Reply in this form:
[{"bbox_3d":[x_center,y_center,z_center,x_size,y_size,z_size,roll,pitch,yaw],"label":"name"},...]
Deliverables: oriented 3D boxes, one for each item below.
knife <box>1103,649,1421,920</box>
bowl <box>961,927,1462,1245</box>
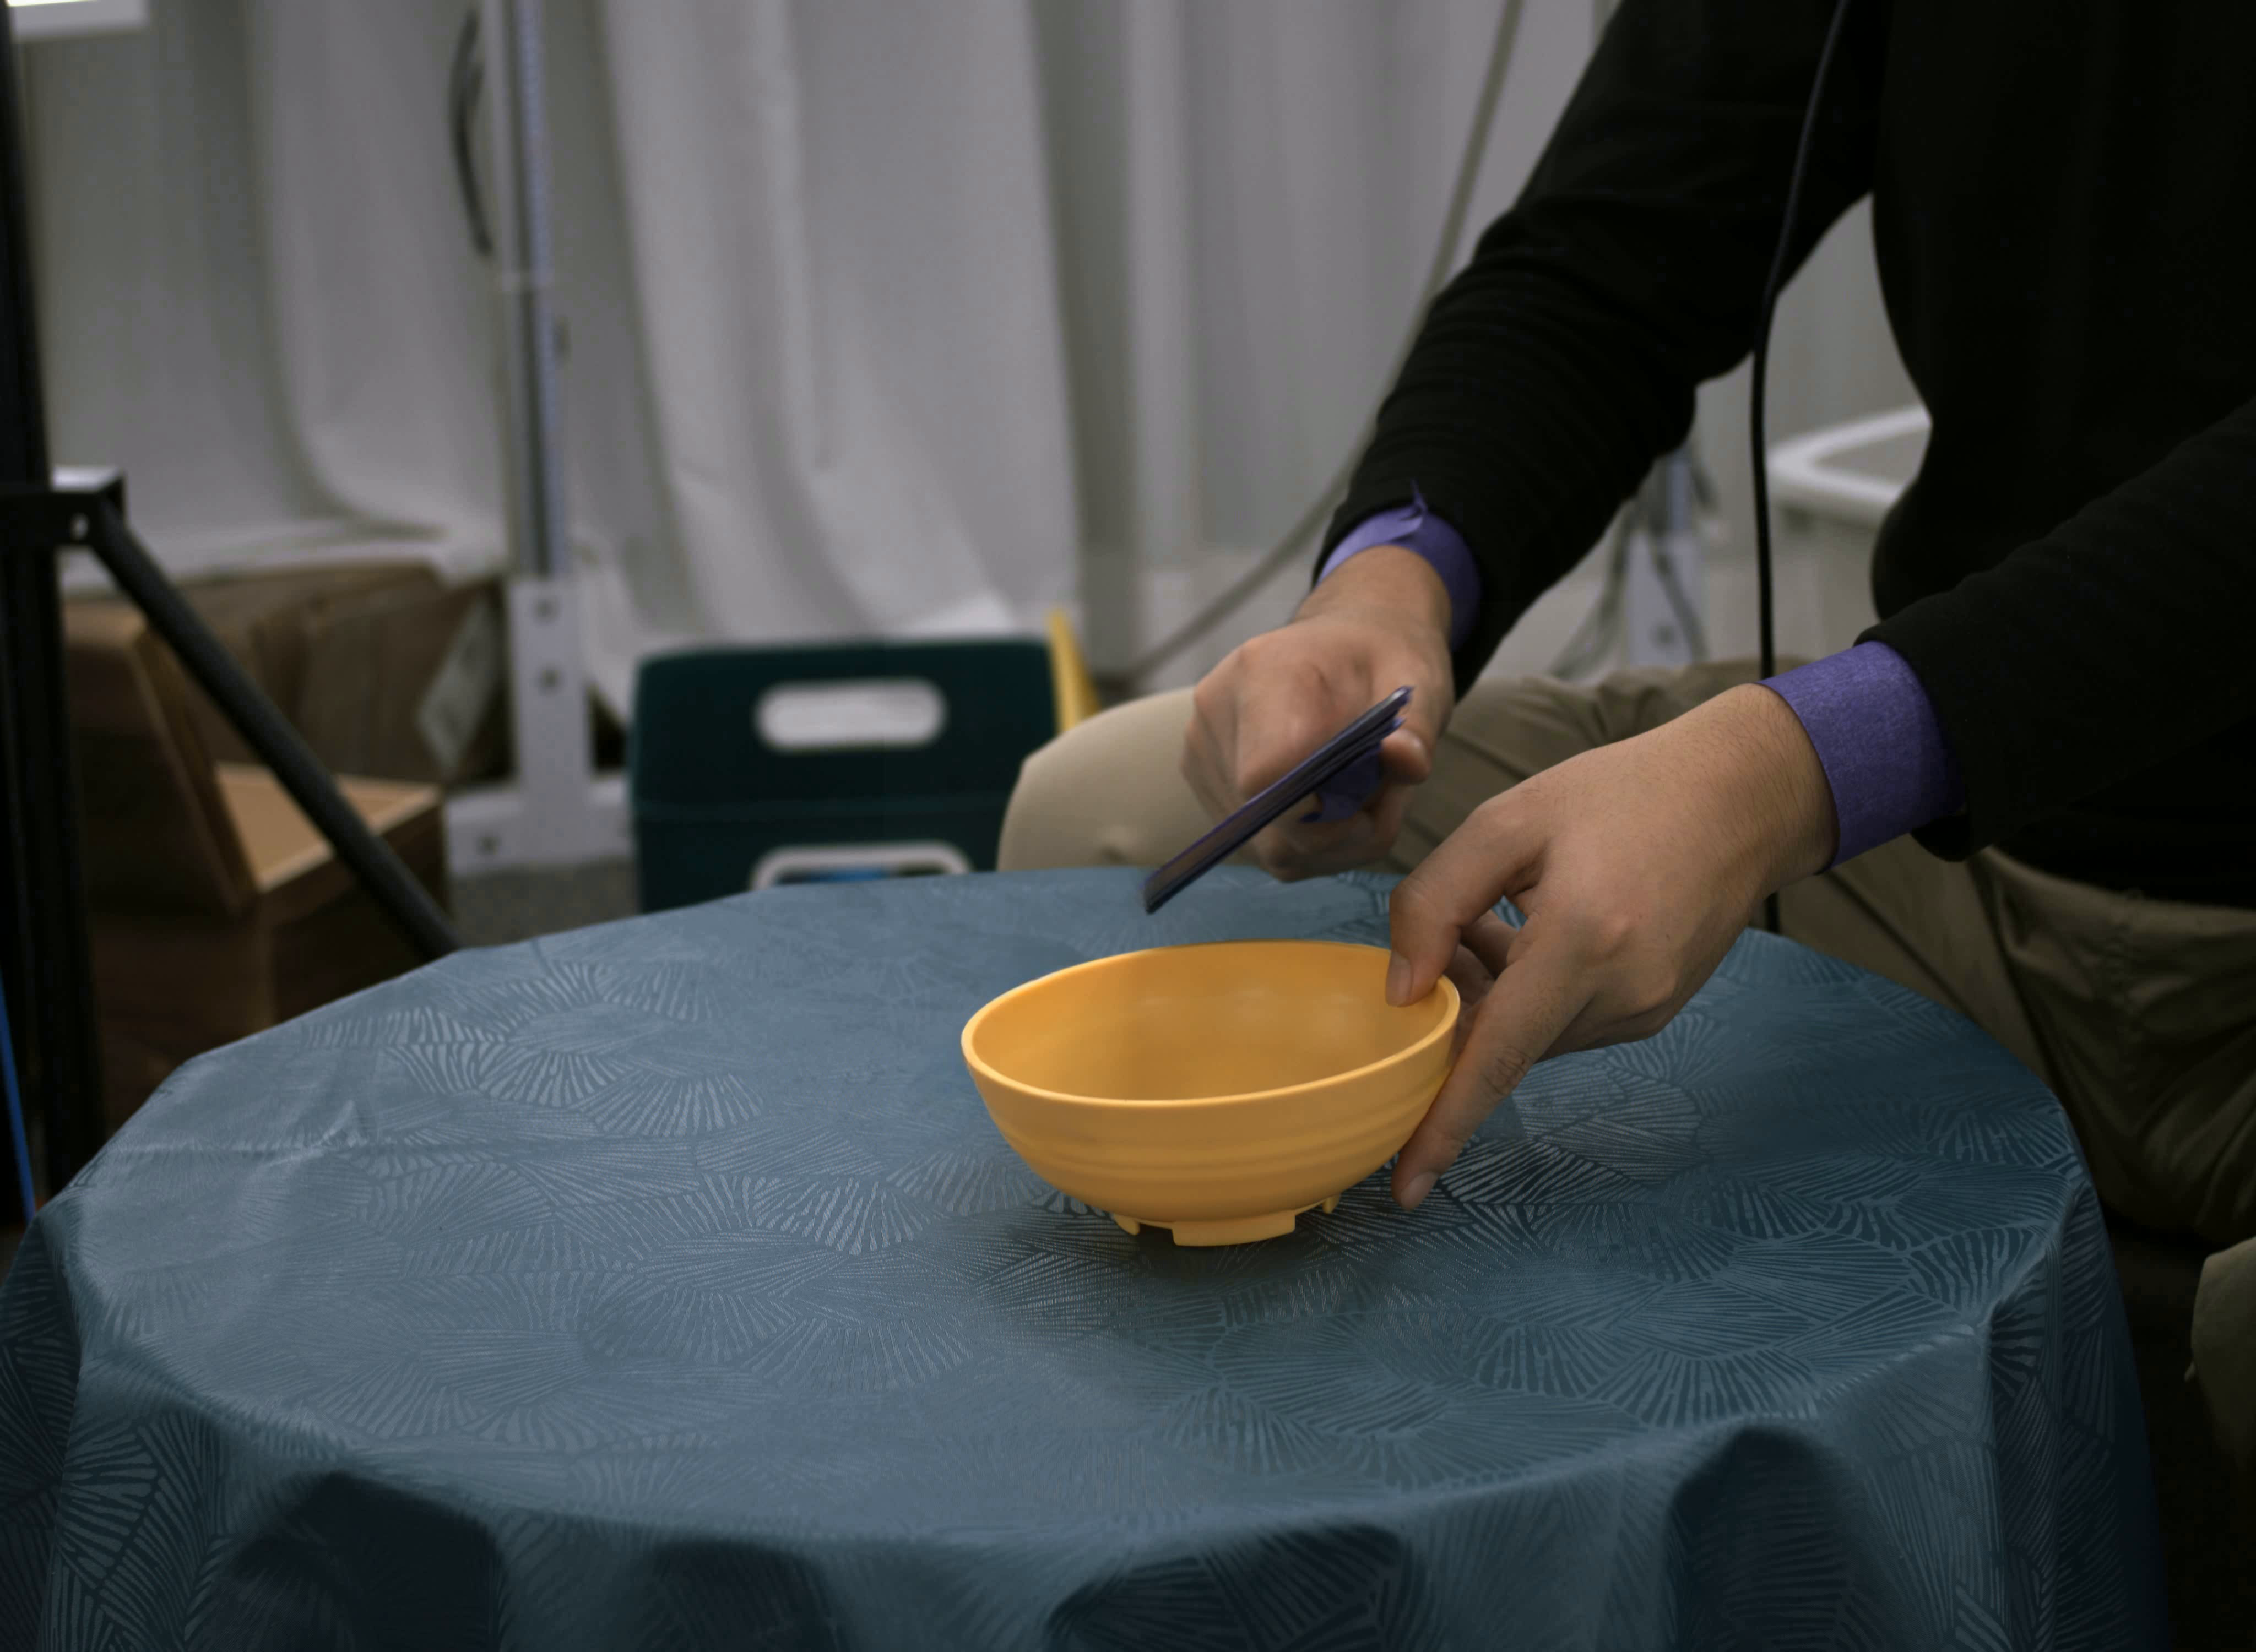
[{"bbox_3d":[0.038,-0.006,1.609,0.103,0.032,0.314,-36,-5,-3],"label":"knife"},{"bbox_3d":[0.026,0.081,1.529,0.144,0.060,0.146,-5,18,0],"label":"bowl"}]
